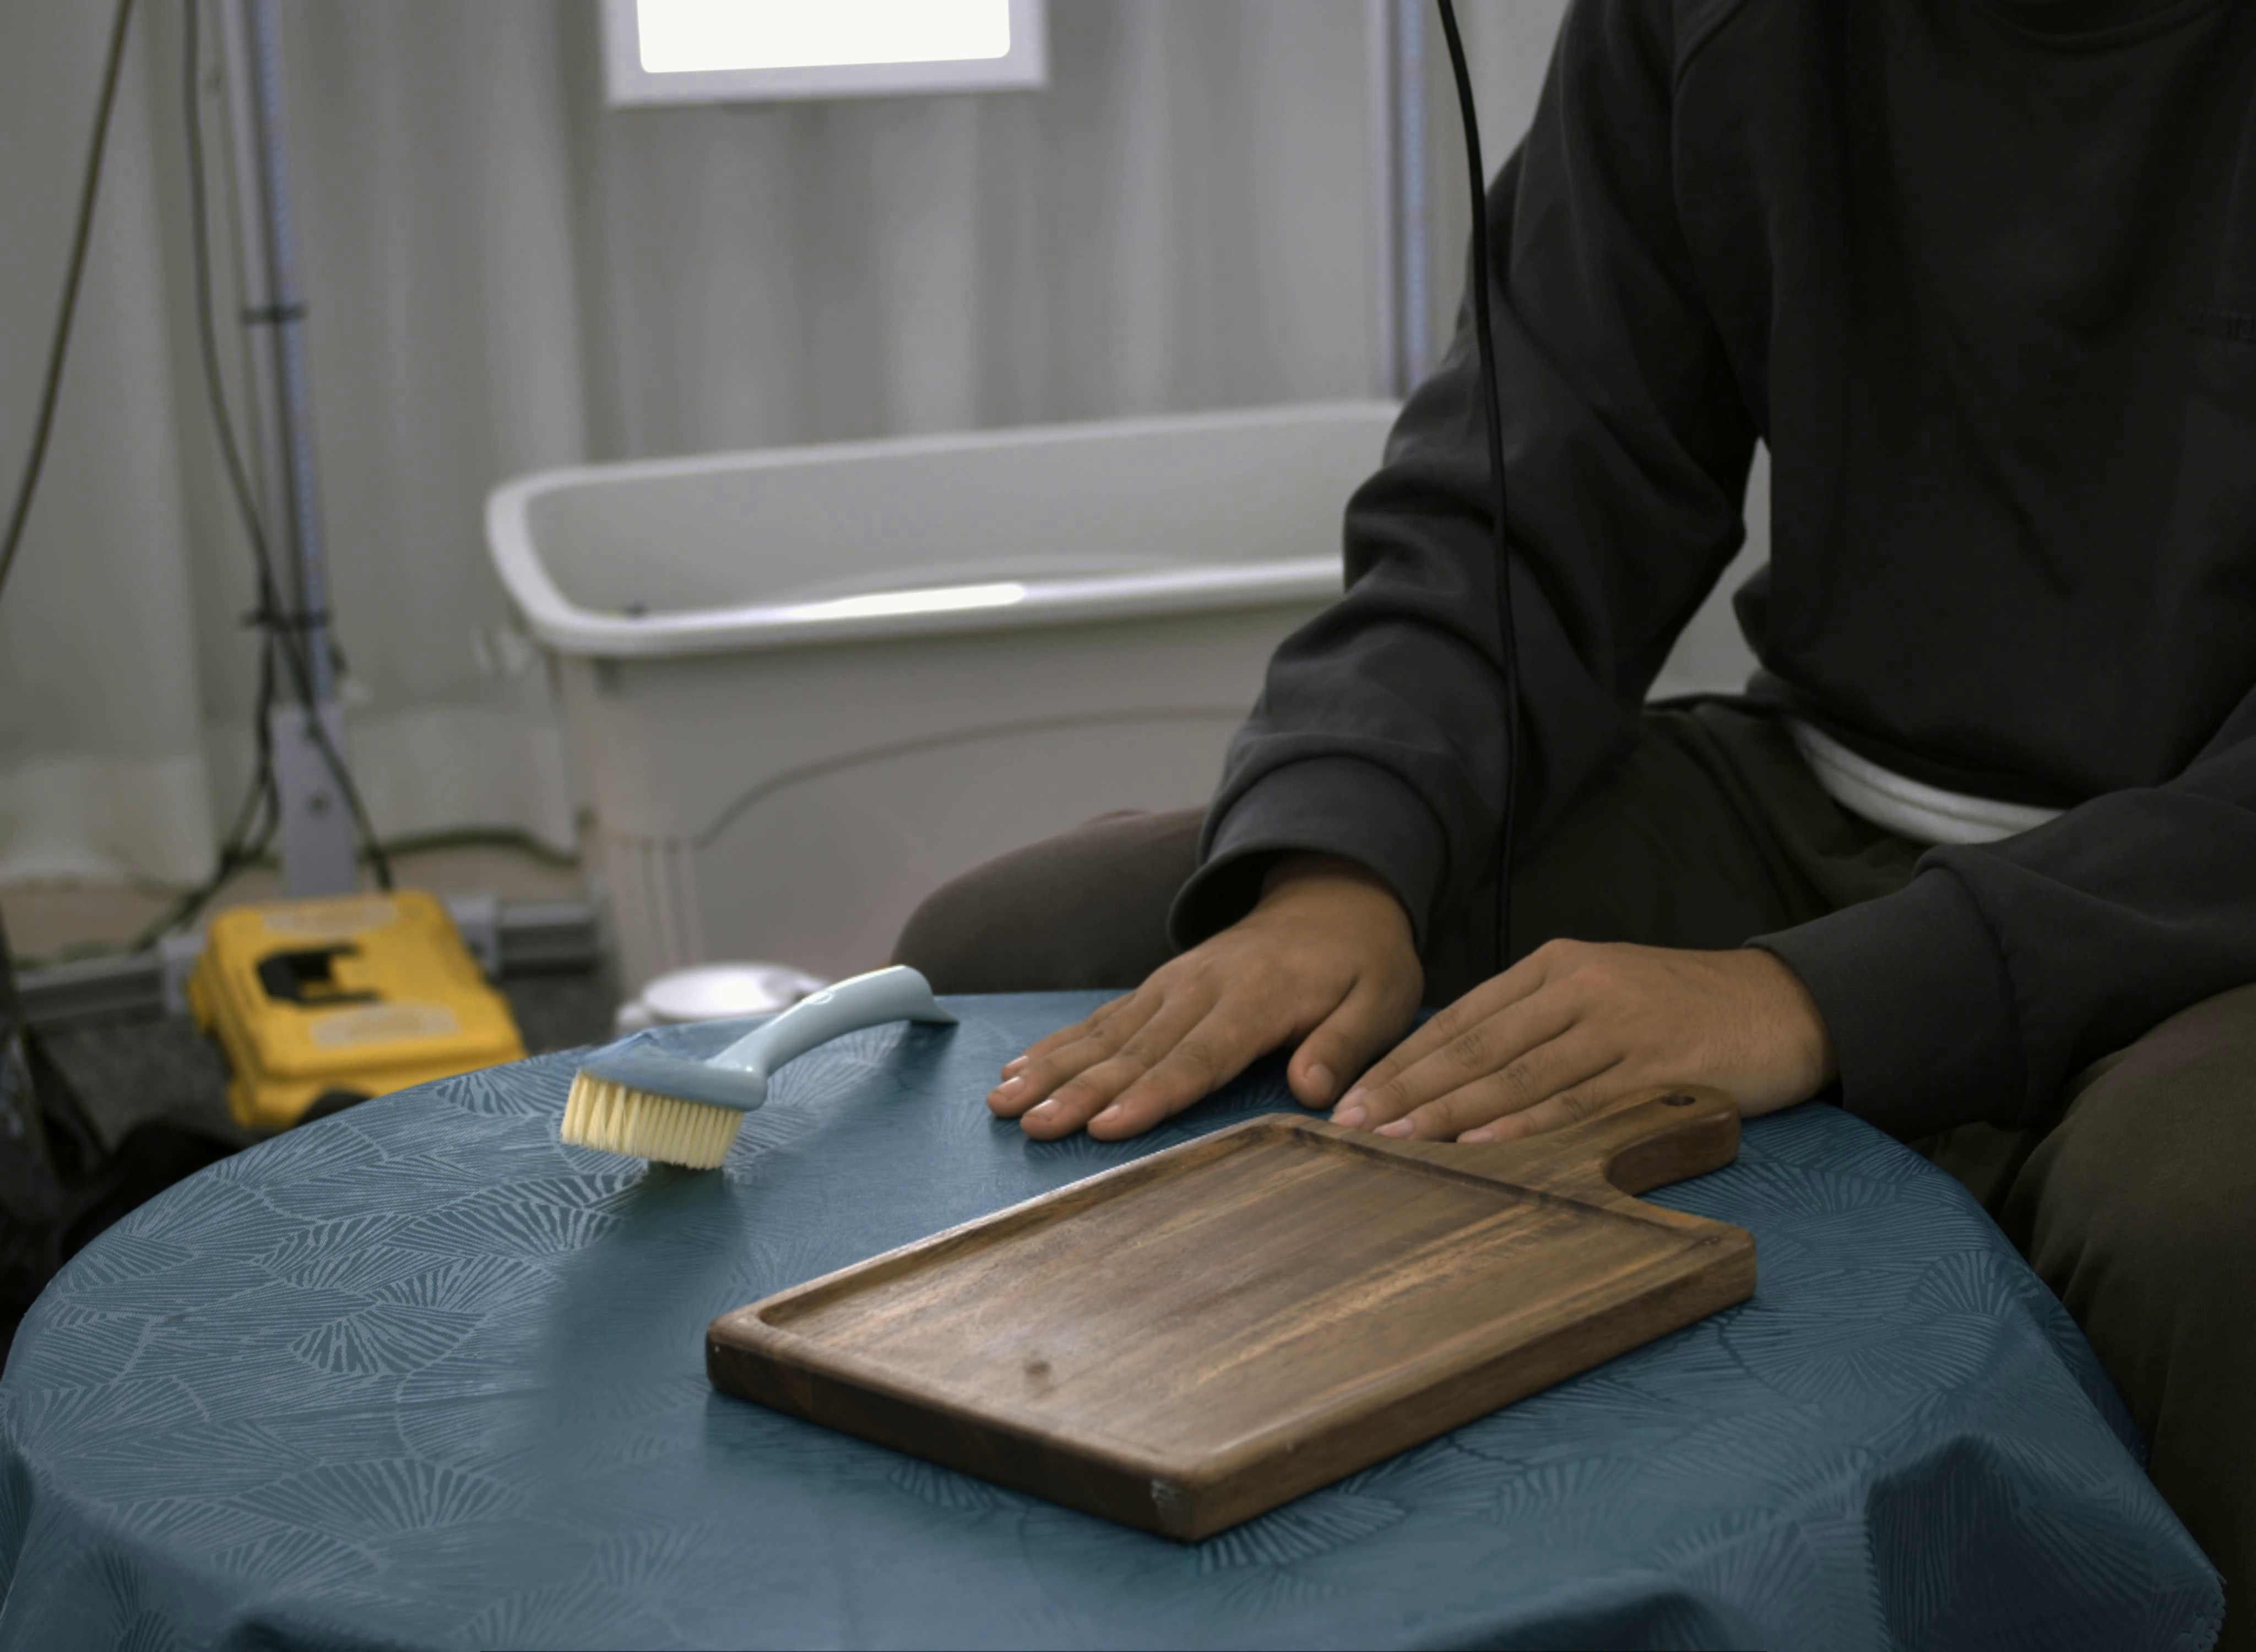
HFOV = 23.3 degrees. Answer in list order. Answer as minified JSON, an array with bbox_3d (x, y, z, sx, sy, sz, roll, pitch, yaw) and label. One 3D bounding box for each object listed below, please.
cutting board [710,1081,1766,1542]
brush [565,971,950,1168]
[{"bbox_3d":[0.068,0.129,1.613,0.202,0.023,0.351,12,21,43],"label":"cutting board"},{"bbox_3d":[-0.119,0.081,1.805,0.038,0.049,0.228,10,10,23],"label":"brush"}]
